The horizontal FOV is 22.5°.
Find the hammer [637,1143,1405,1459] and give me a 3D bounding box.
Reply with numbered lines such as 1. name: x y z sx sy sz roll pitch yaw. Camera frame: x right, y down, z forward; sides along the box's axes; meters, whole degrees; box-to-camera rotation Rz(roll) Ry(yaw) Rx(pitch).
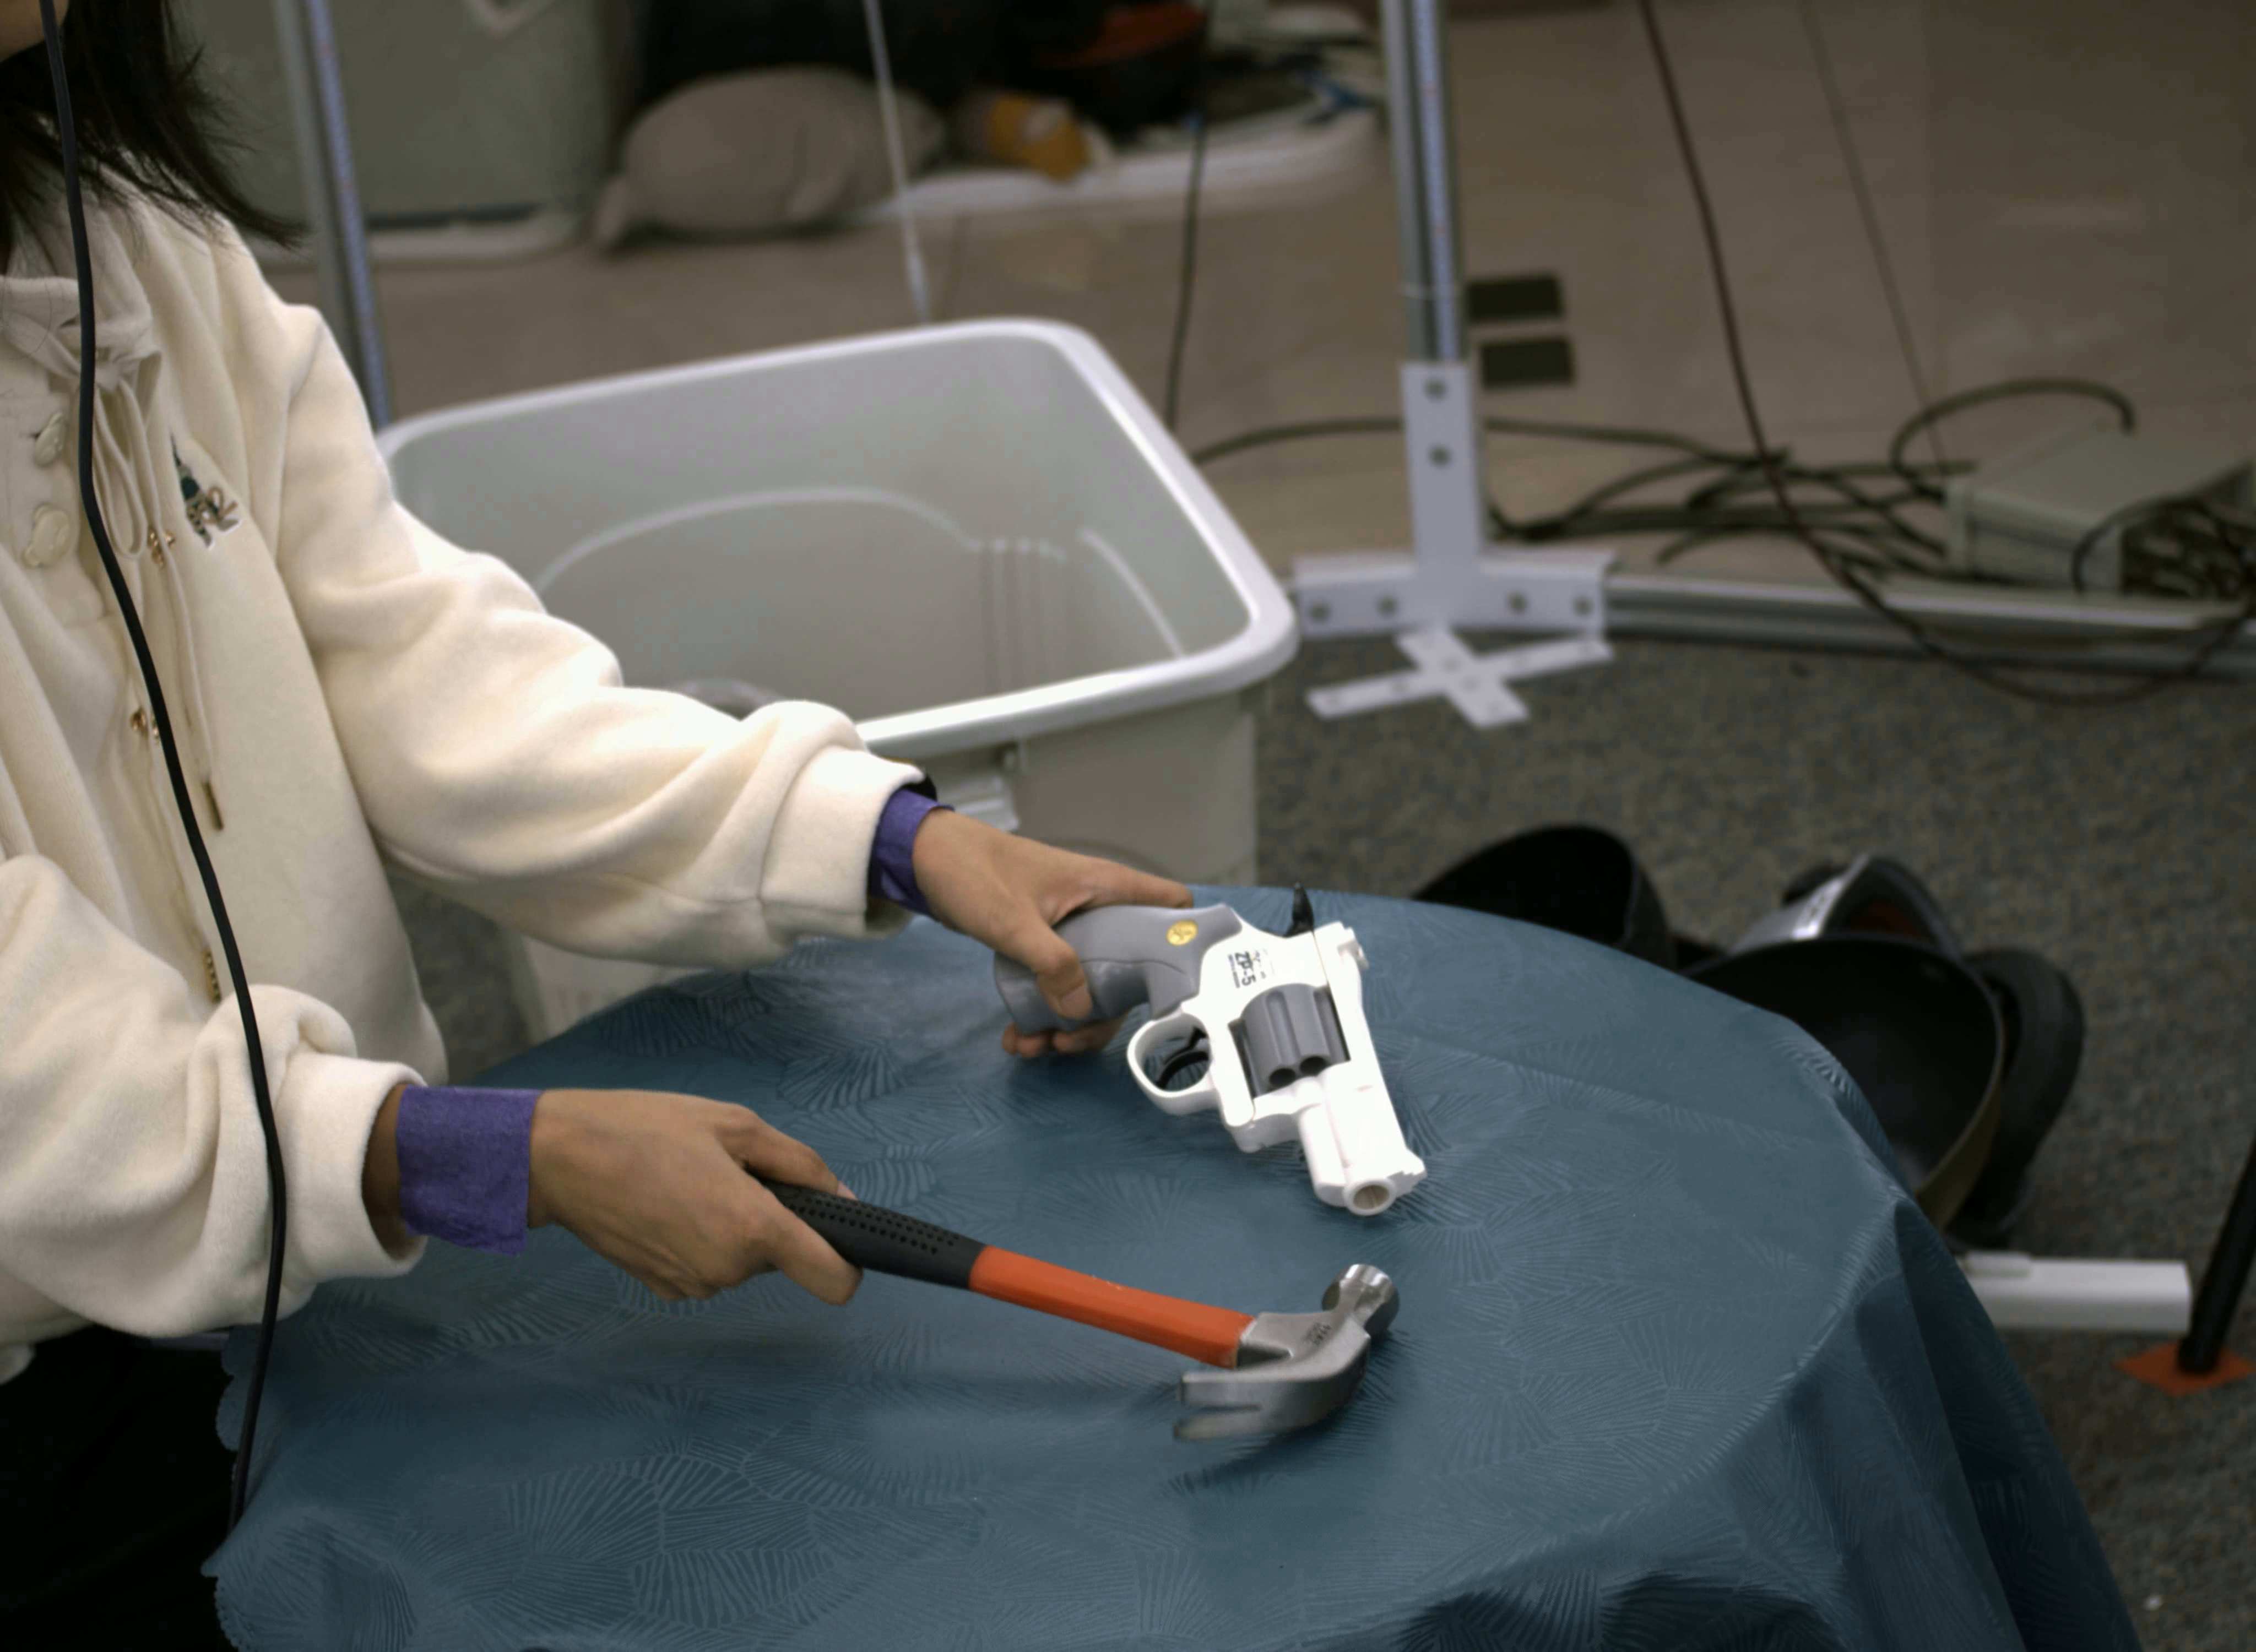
1. hammer: -0.047 0.160 2.024 0.276 0.027 0.109 14 37 18

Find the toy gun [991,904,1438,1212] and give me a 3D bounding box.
1. toy gun: 0.030 0.088 2.183 0.141 0.039 0.205 -23 43 5
